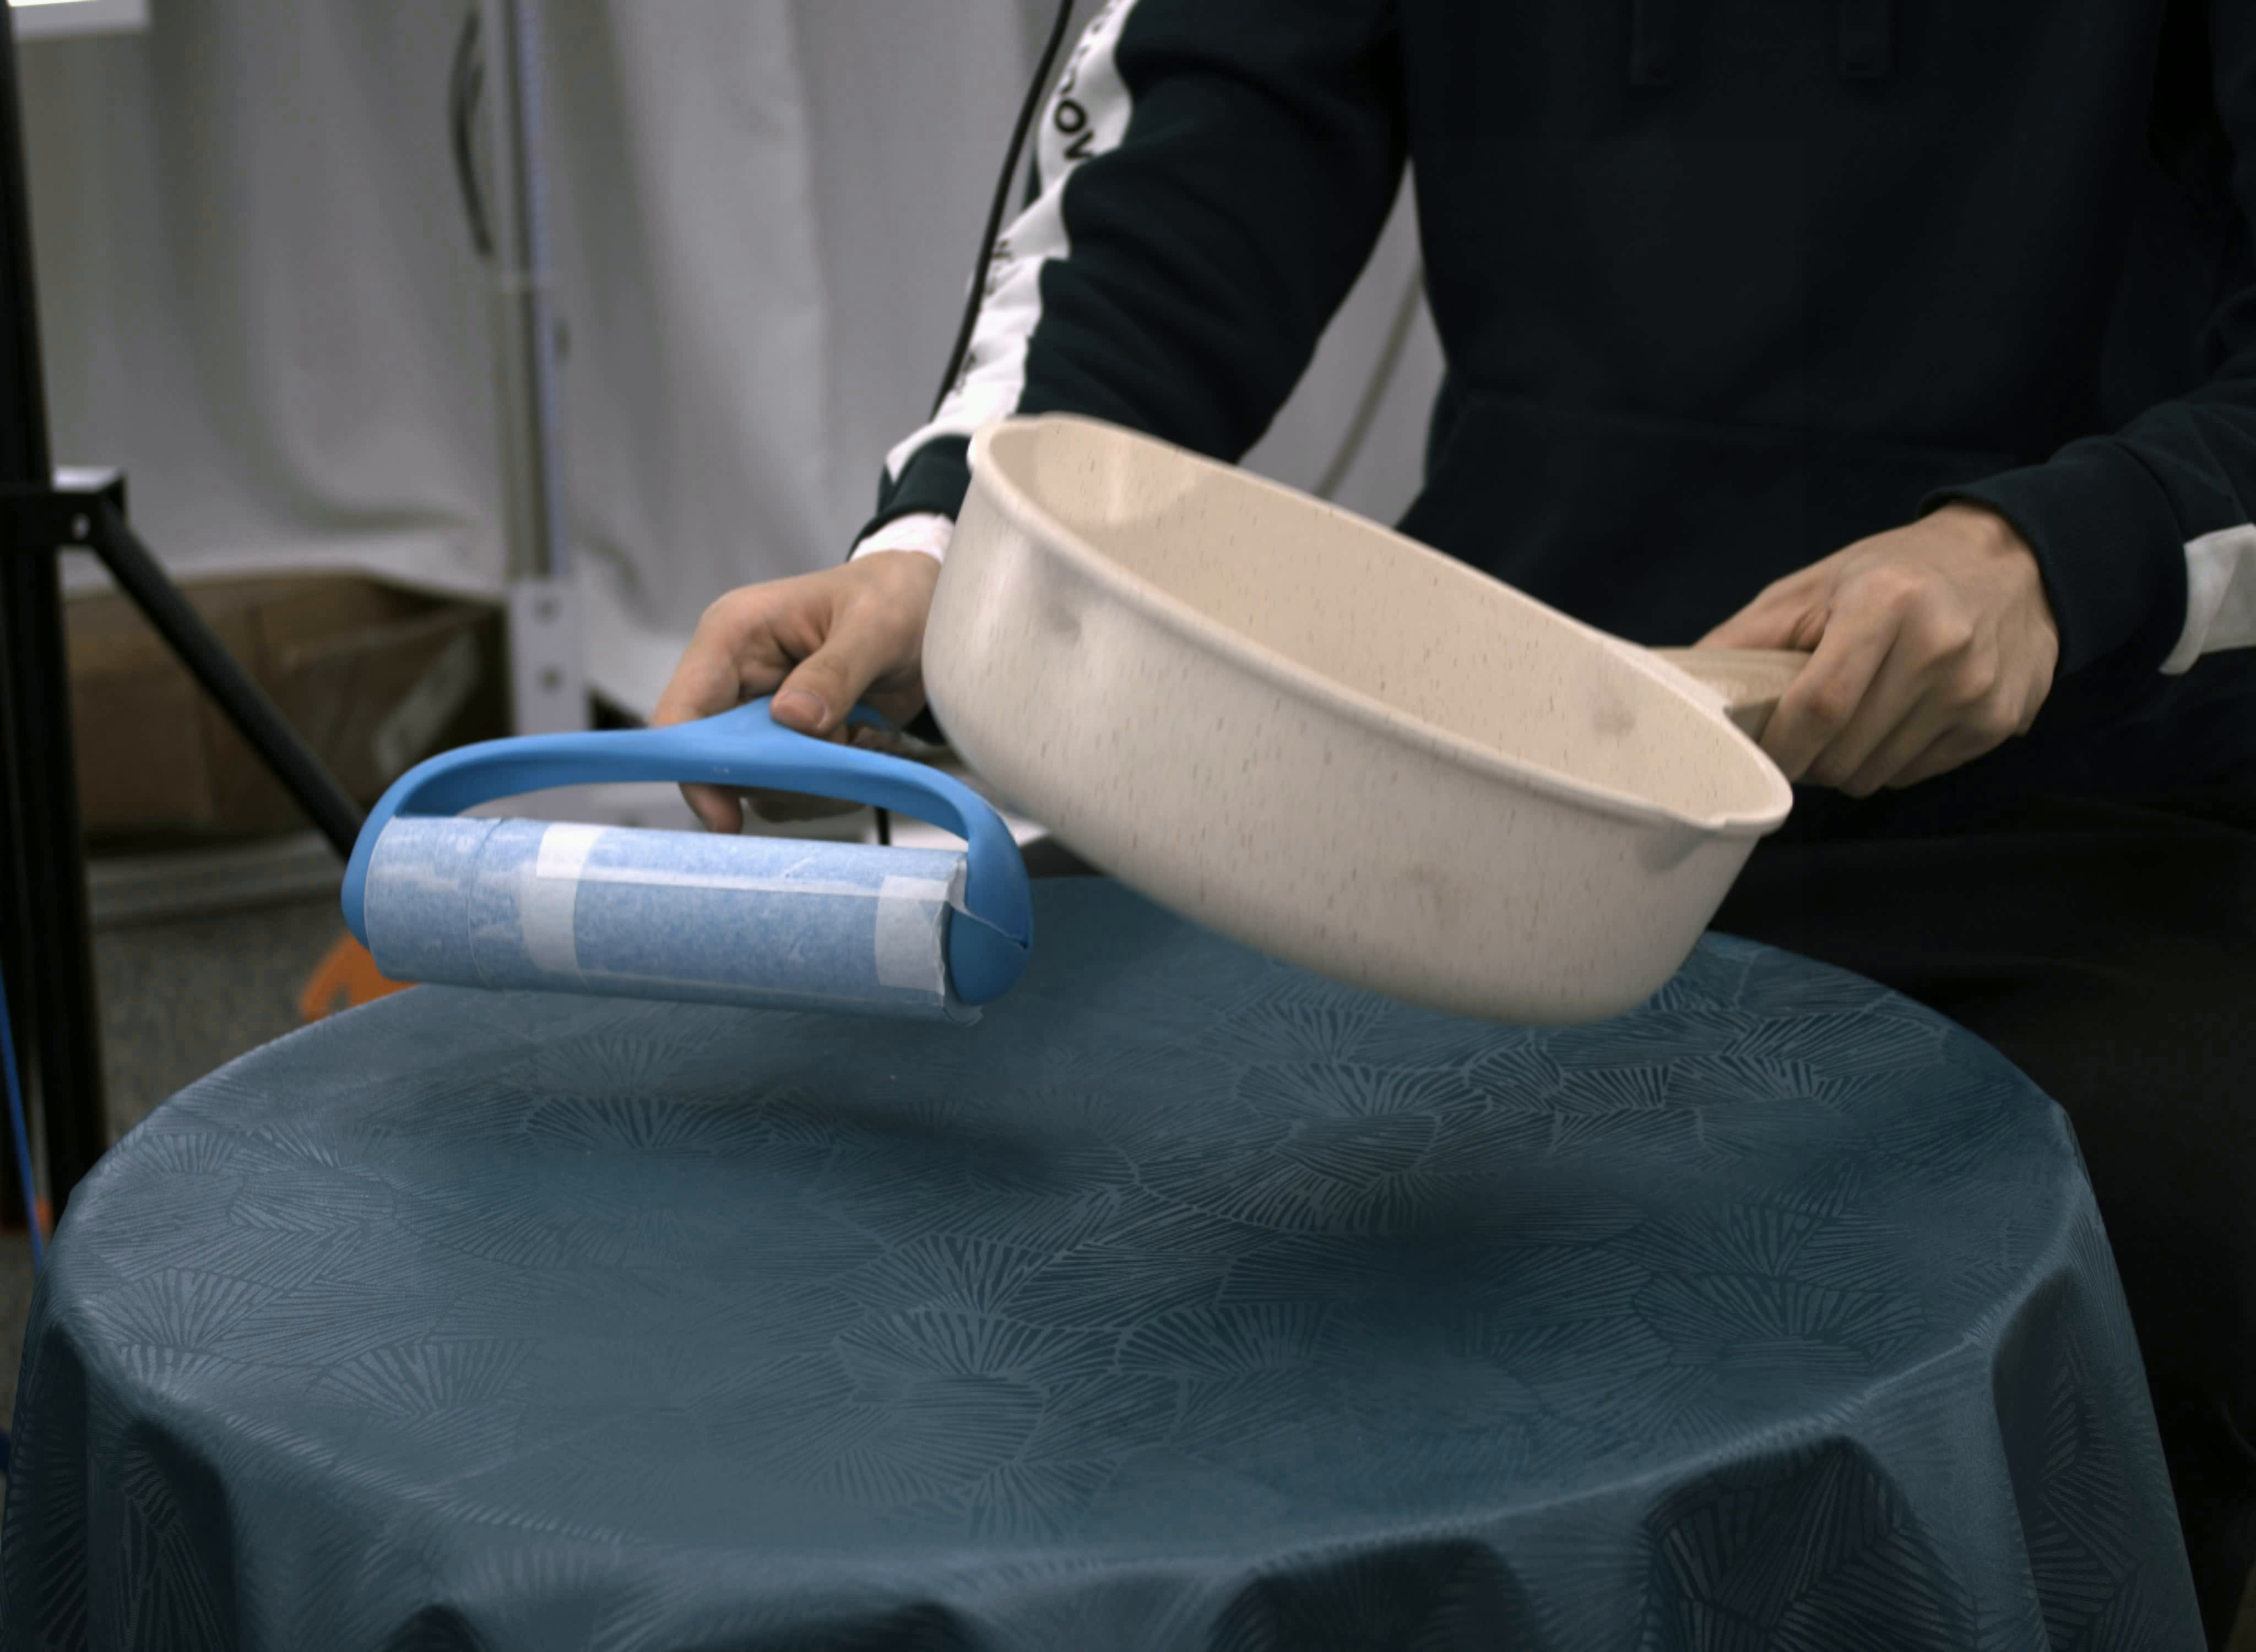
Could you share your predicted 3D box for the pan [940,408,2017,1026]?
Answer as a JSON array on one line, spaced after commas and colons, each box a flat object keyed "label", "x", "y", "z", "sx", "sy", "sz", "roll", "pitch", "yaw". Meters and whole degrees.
[{"label": "pan", "x": 0.123, "y": -0.022, "z": 1.551, "sx": 0.423, "sy": 0.102, "sz": 0.269, "roll": 10, "pitch": 19, "yaw": -48}]

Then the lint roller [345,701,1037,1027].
[{"label": "lint roller", "x": -0.121, "y": -0.004, "z": 1.691, "sx": 0.231, "sy": 0.067, "sz": 0.179, "roll": 1, "pitch": 33, "yaw": 20}]
